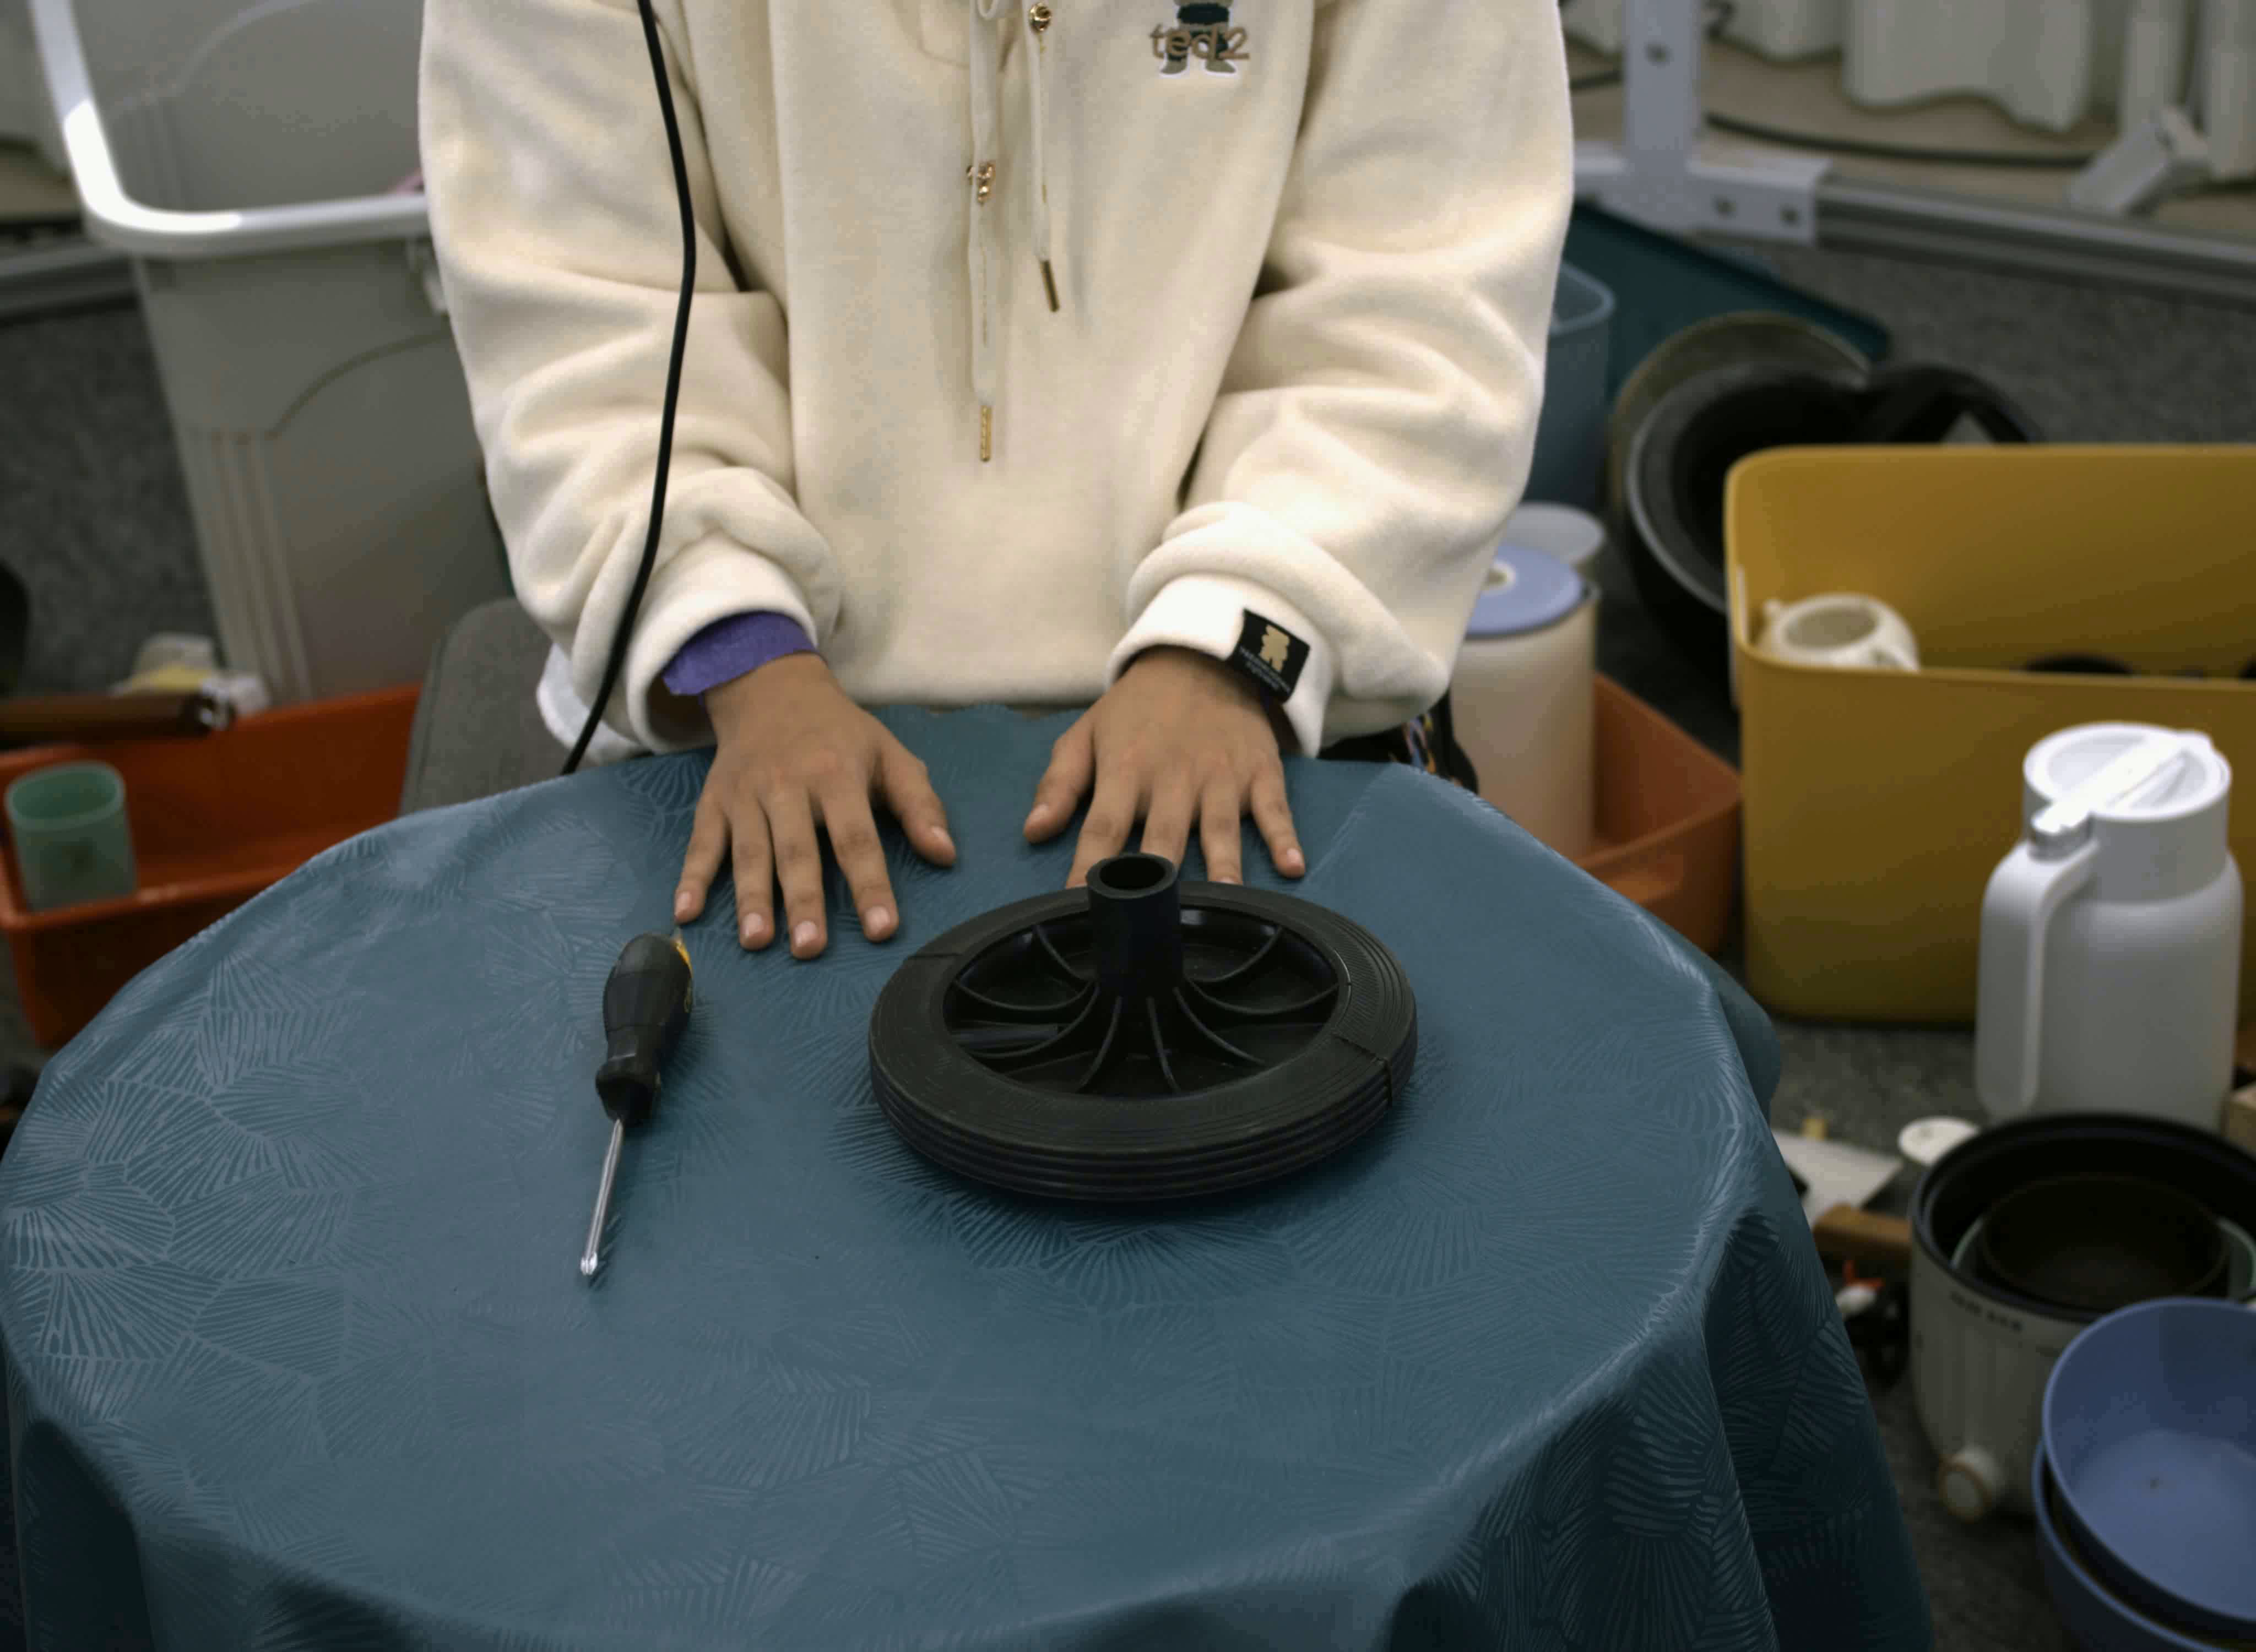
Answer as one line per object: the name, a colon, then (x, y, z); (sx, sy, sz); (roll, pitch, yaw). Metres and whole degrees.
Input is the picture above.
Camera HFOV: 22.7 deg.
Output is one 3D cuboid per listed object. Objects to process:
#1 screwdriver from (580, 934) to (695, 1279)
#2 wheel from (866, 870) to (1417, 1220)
screwdriver: (-0.167, 0.095, 1.904); (0.031, 0.031, 0.199); (-2, 29, 2)
wheel: (0.002, 0.057, 1.907); (0.191, 0.078, 0.188); (-19, 31, -21)
